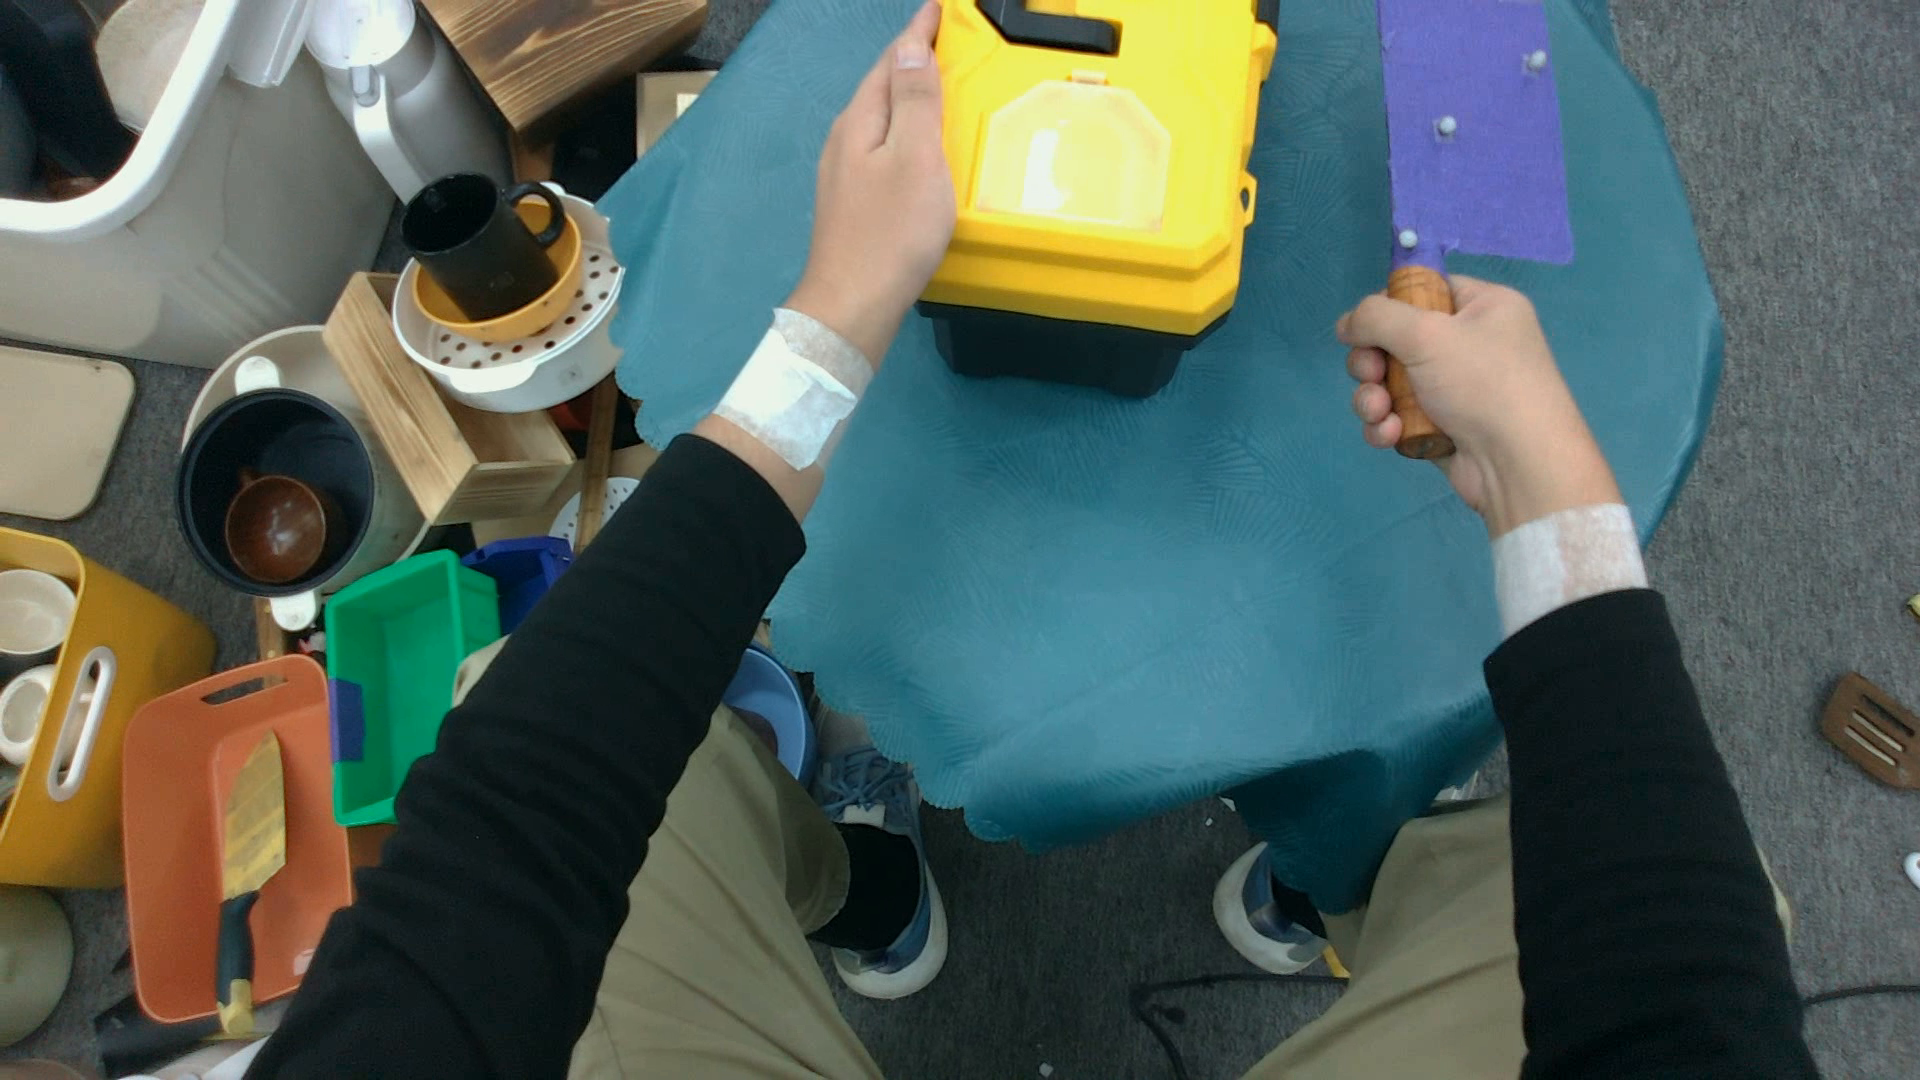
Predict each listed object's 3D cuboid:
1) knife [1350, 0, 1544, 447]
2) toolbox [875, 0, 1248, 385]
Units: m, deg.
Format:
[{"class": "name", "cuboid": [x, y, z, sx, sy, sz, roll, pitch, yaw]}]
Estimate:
[{"class": "knife", "cuboid": [0.245, -0.191, 0.689, 0.104, 0.032, 0.316, 5, 69, -5]}, {"class": "toolbox", "cuboid": [0.066, -0.266, 0.740, 0.181, 0.172, 0.352, 8, 73, 4]}]
